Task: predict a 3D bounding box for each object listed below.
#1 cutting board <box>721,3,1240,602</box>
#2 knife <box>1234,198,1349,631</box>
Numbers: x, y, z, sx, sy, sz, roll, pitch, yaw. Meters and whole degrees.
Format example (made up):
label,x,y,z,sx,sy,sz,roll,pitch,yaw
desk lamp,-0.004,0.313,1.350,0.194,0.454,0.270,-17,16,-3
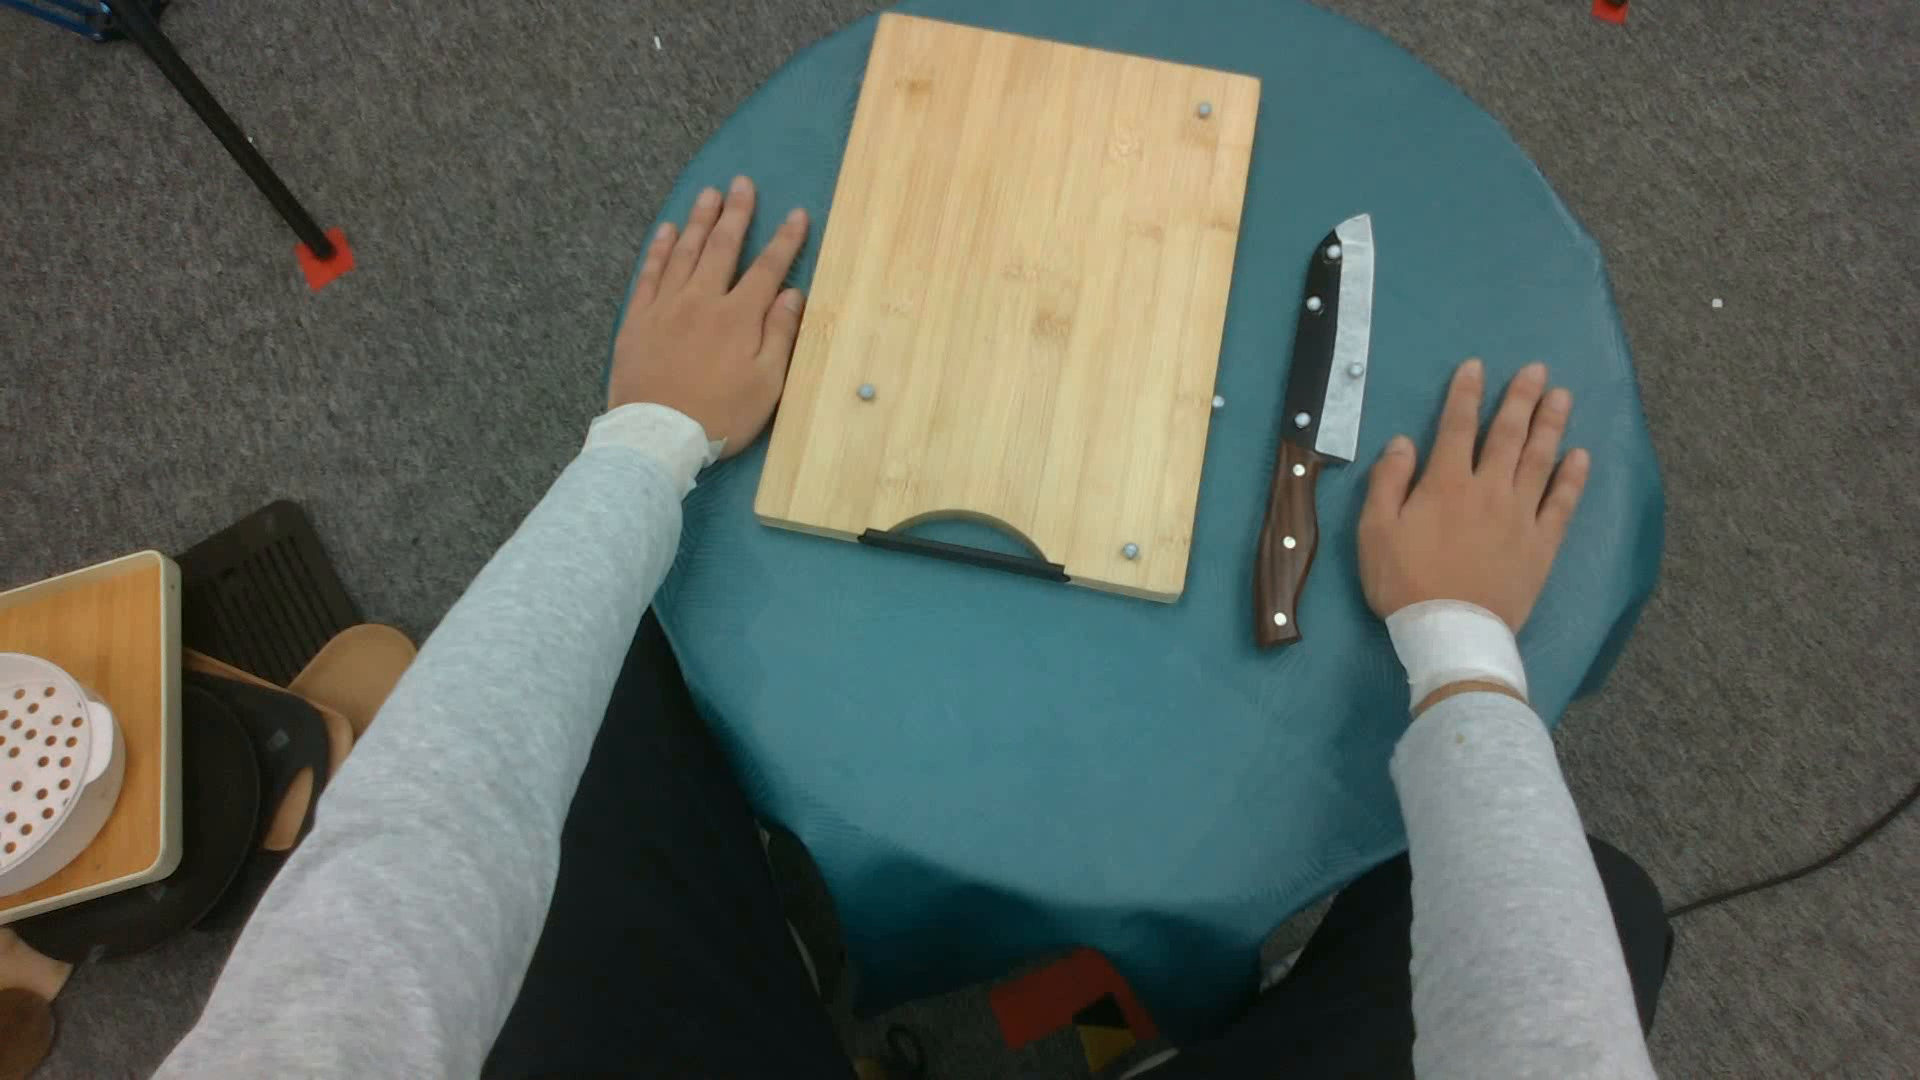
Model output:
label,x,y,z,sx,sy,sz,roll,pitch,yaw
cutting board,0.022,-0.150,0.808,0.251,0.023,0.349,10,71,2
knife,0.194,-0.080,0.791,0.050,0.020,0.290,16,69,-2
